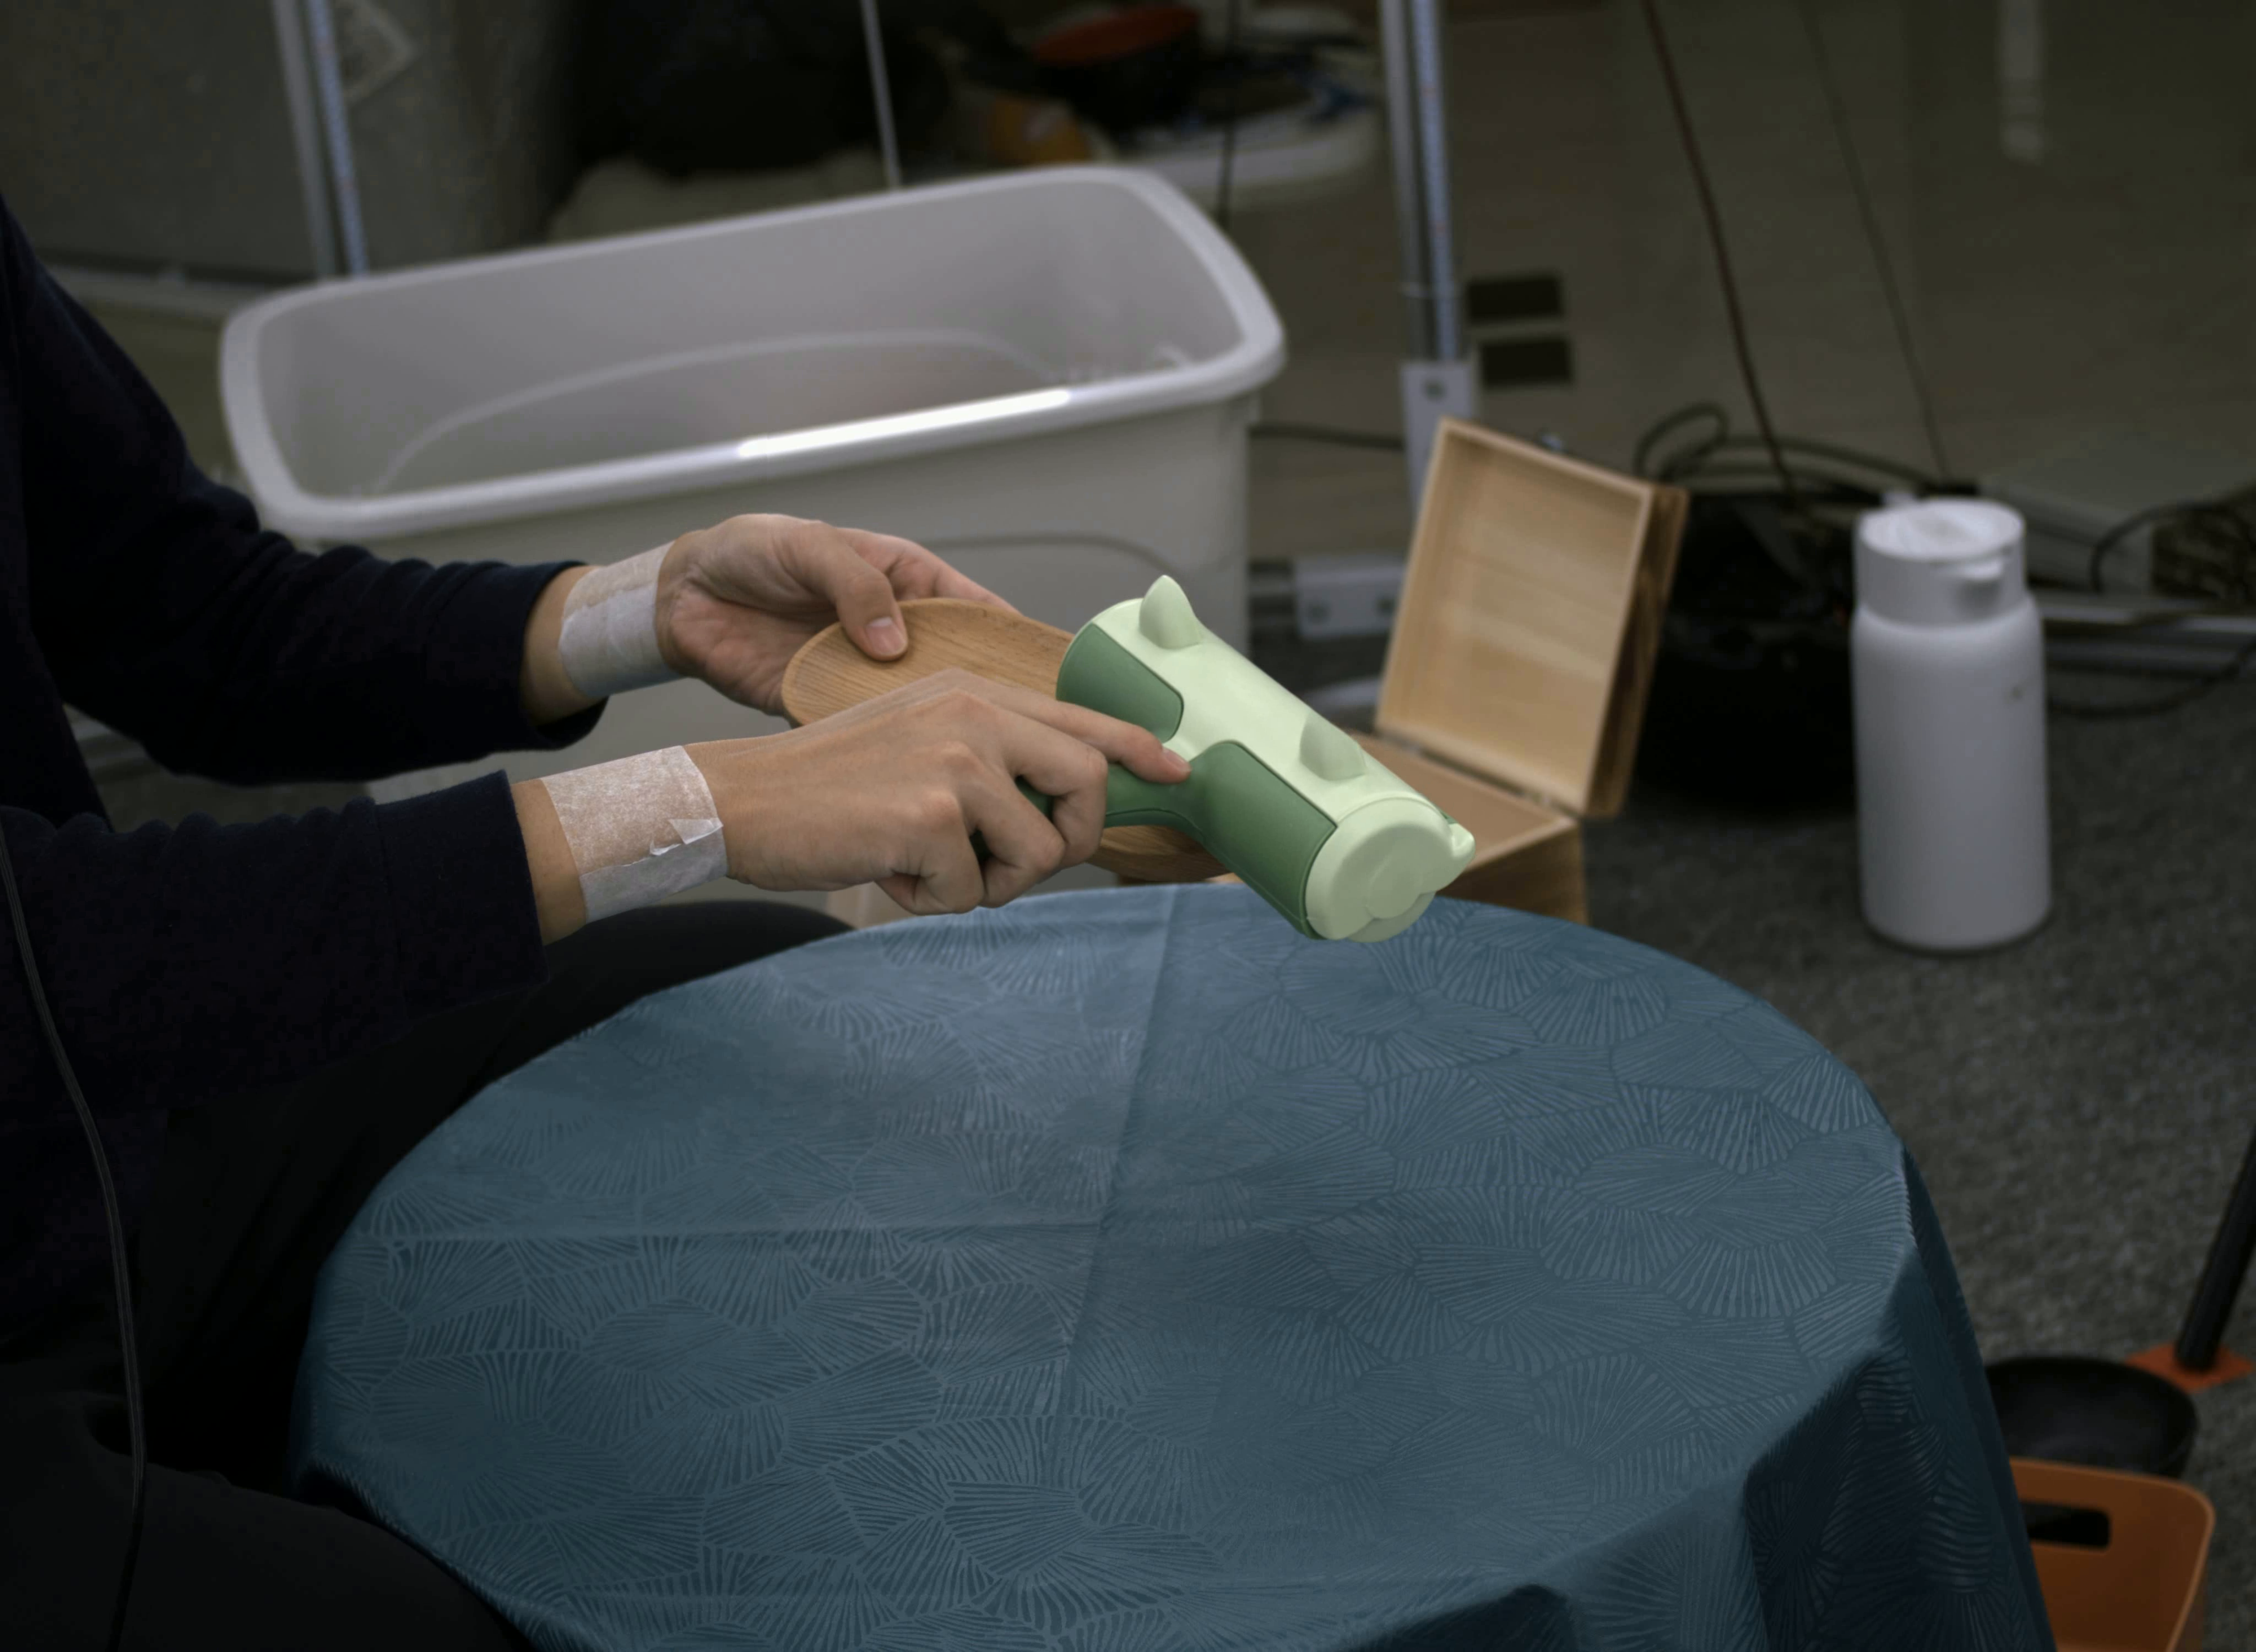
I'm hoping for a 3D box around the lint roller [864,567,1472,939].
[{"bbox_3d":[-0.003,-0.032,1.947,0.183,0.083,0.196,2,23,-33],"label":"lint roller"}]

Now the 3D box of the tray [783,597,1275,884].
[{"bbox_3d":[-0.027,-0.032,2.064,0.229,0.021,0.100,22,47,33],"label":"tray"}]
